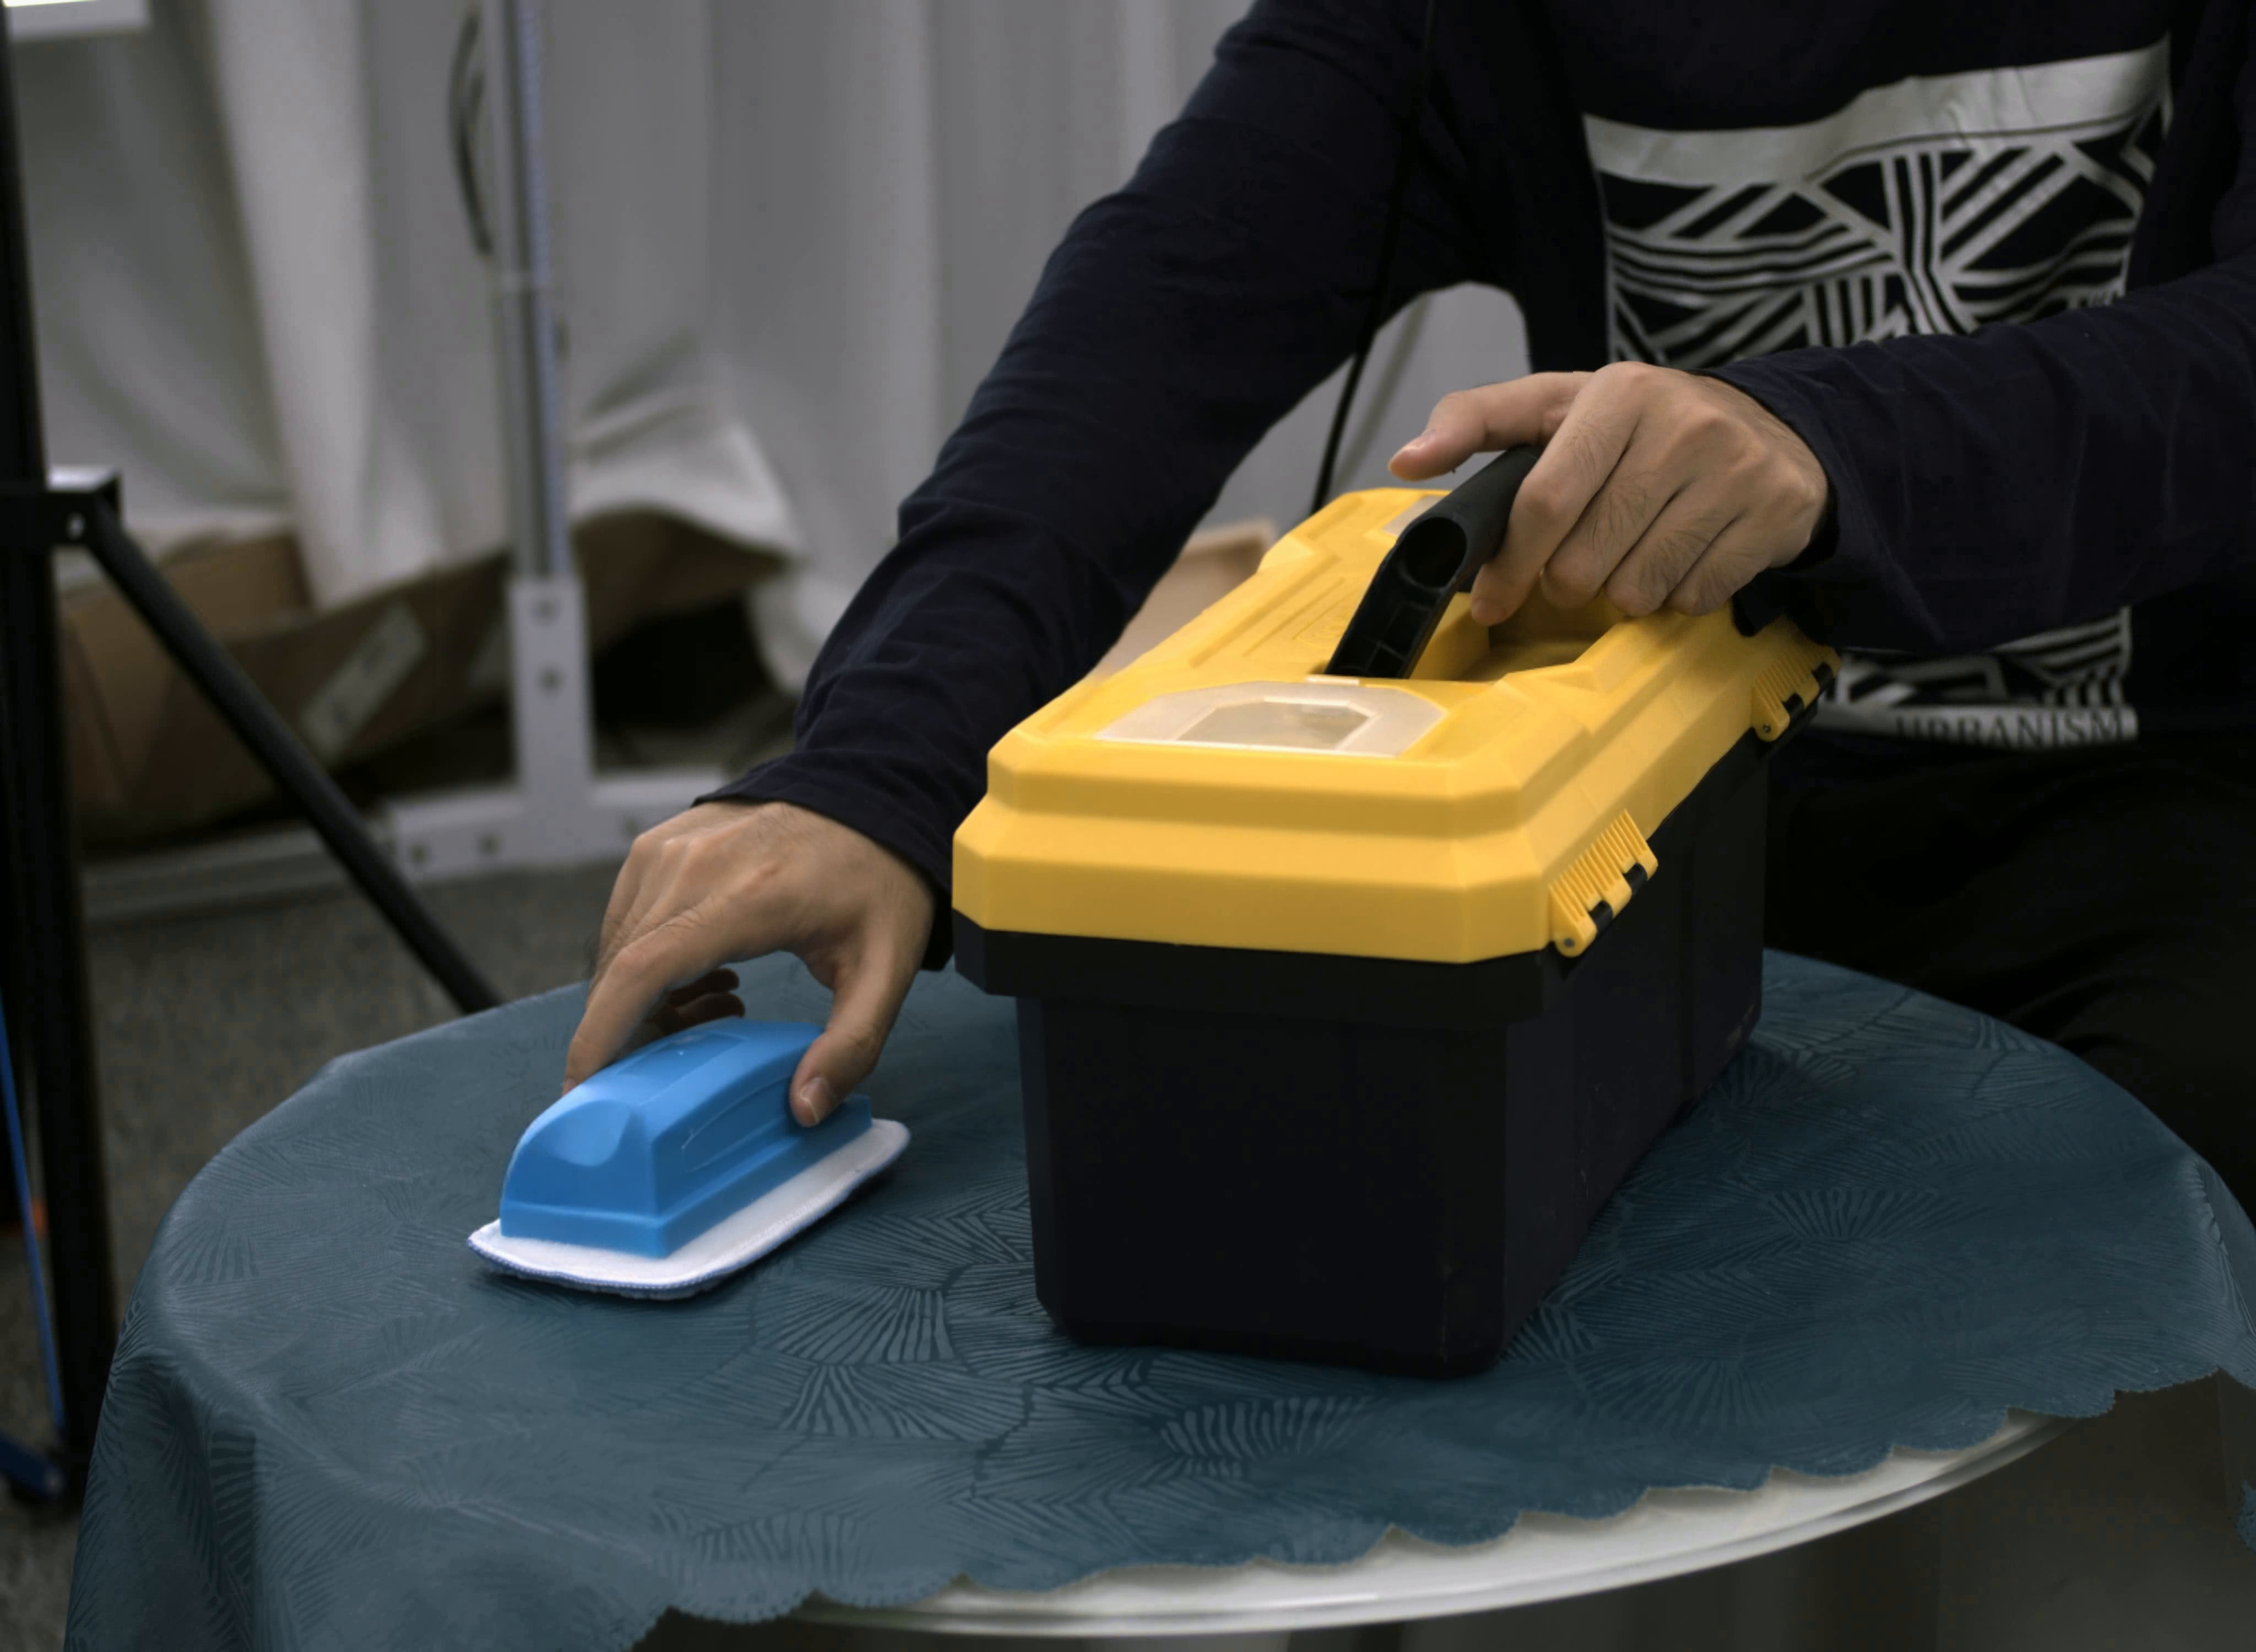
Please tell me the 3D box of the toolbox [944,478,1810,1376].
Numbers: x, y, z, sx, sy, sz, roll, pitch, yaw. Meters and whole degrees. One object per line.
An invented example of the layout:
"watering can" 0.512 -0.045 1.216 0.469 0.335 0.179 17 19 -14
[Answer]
"toolbox" 0.083 0.020 1.540 0.183 0.173 0.347 4 17 20

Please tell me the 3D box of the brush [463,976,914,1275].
"brush" -0.126 0.083 1.555 0.085 0.056 0.141 10 22 28
